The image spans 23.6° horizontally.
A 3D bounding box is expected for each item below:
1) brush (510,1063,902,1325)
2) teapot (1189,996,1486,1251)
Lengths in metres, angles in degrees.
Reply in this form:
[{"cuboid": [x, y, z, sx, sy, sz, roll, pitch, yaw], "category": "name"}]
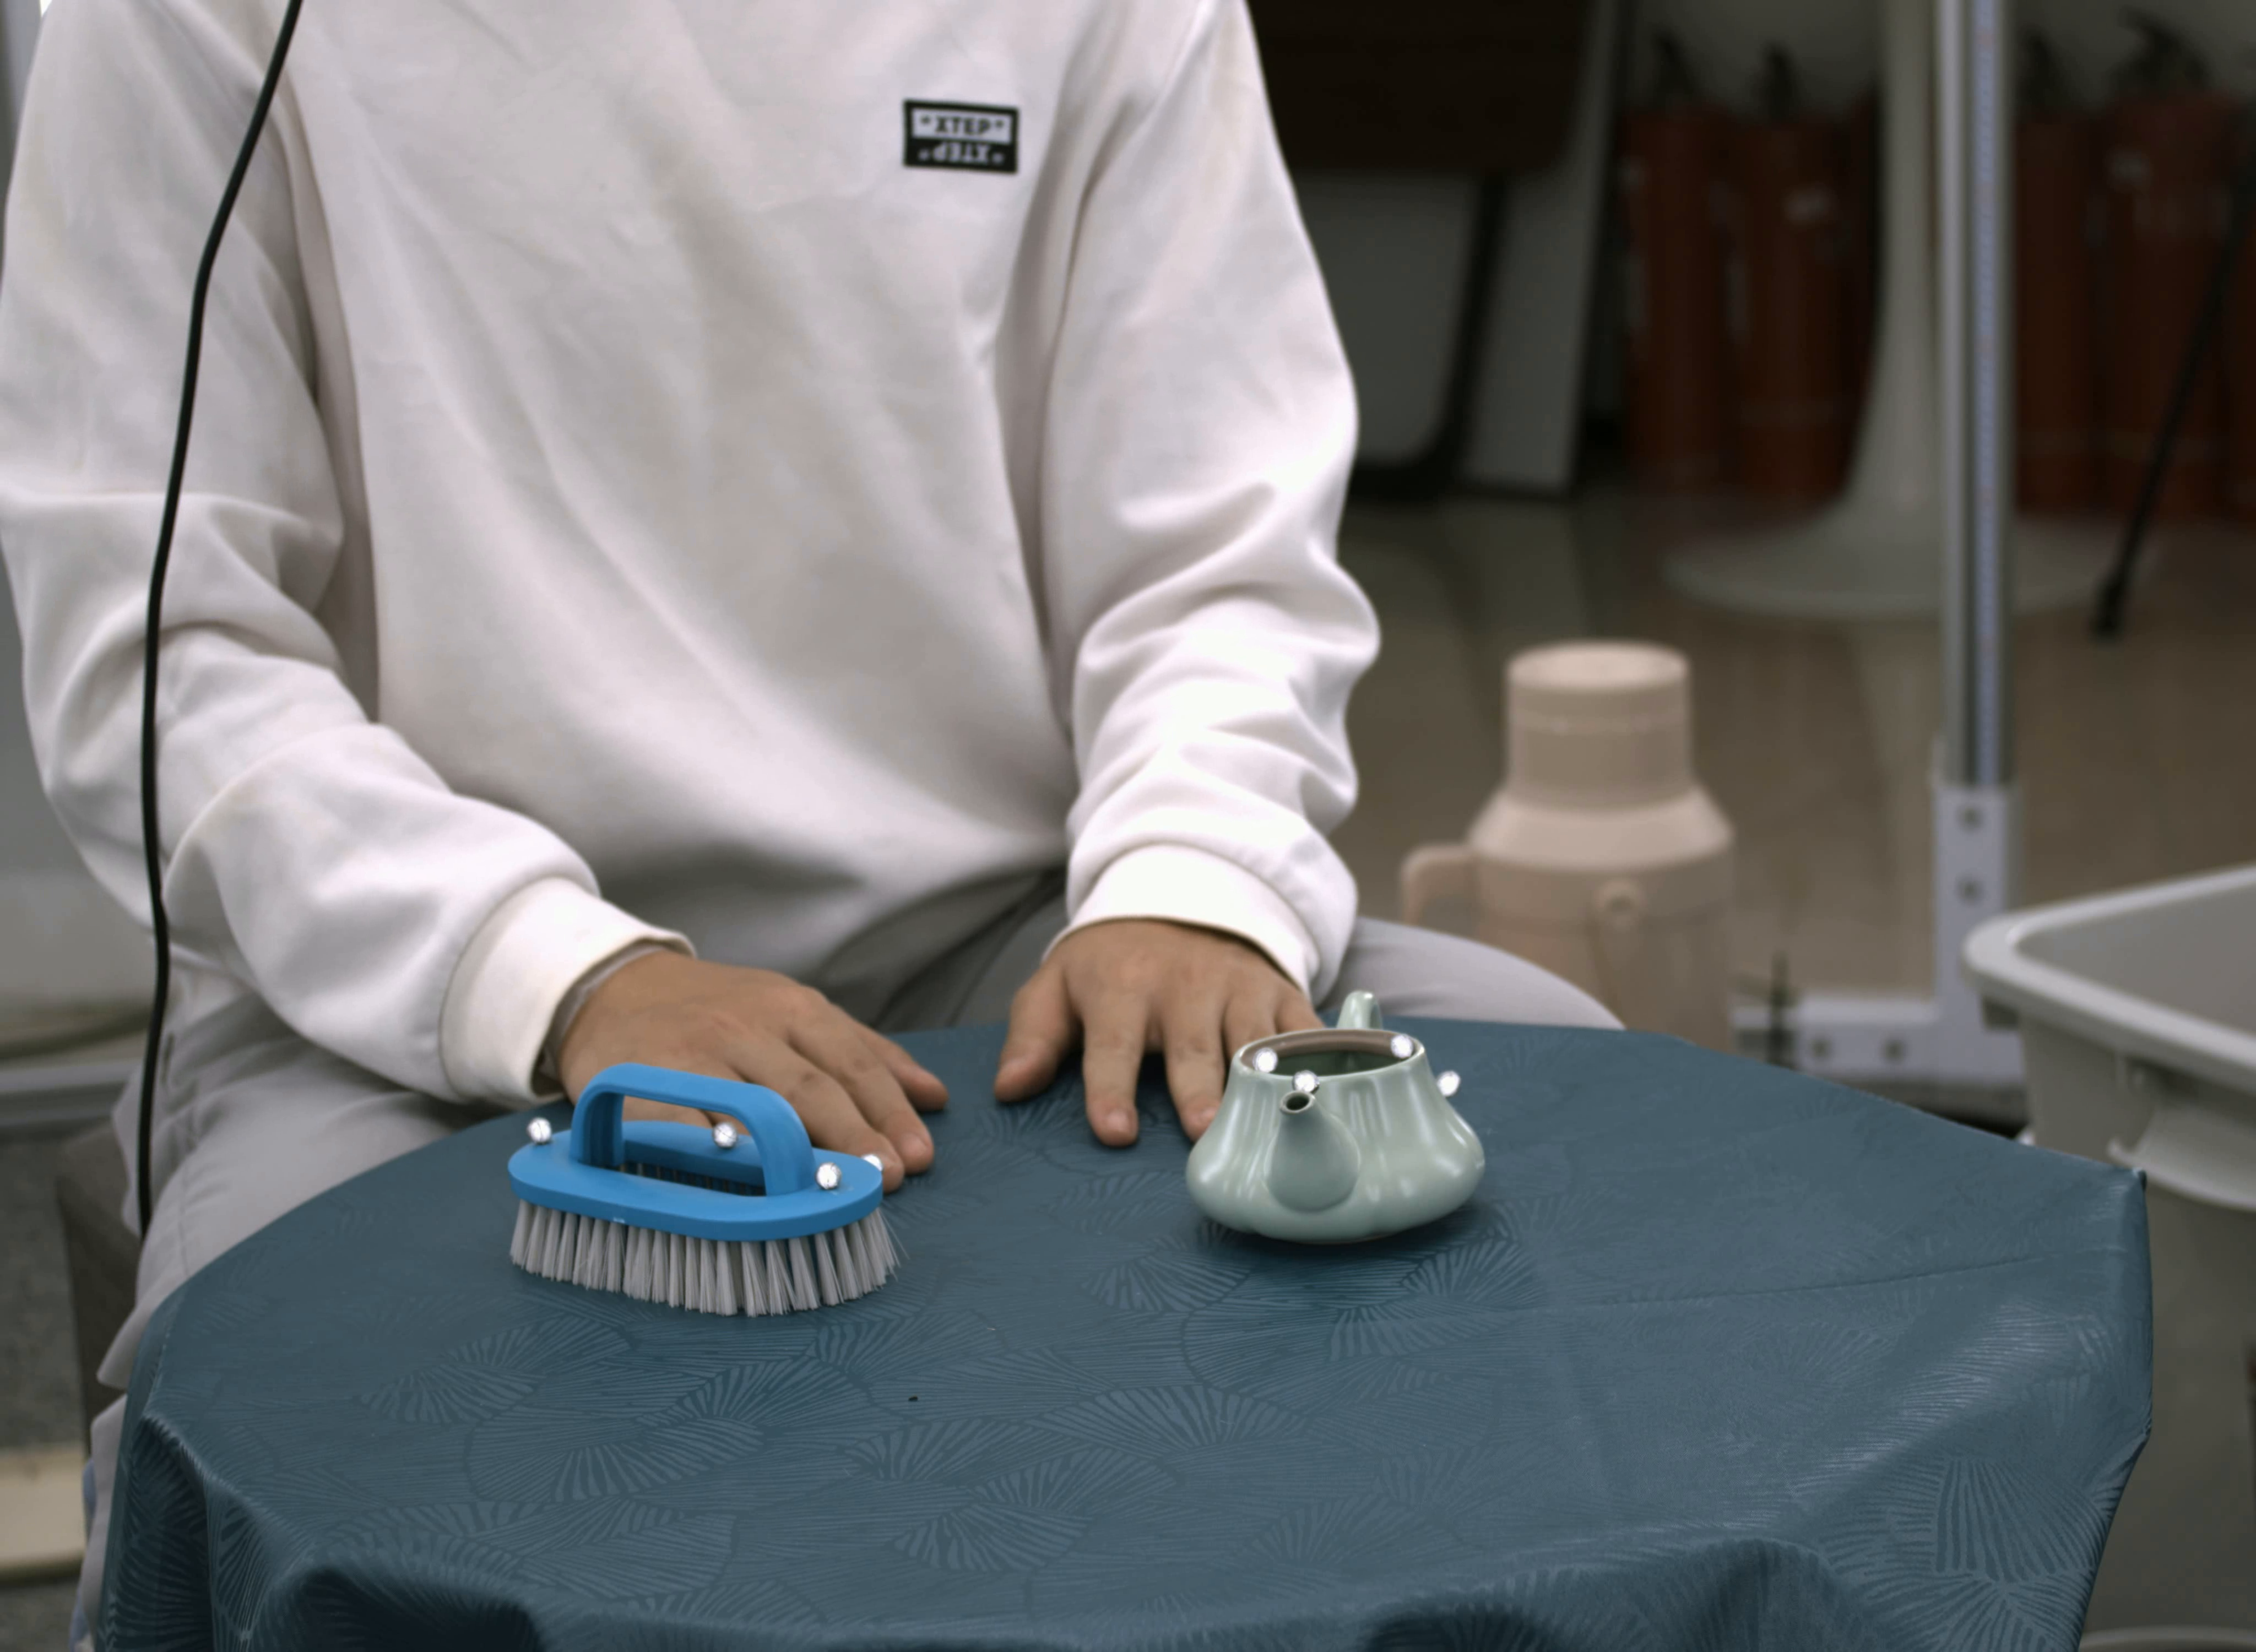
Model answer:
[{"cuboid": [-0.139, 0.110, 1.723, 0.143, 0.064, 0.083, 6, 21, 40], "category": "brush"}, {"cuboid": [0.067, 0.098, 1.728, 0.095, 0.062, 0.136, -4, 13, 11], "category": "teapot"}]
